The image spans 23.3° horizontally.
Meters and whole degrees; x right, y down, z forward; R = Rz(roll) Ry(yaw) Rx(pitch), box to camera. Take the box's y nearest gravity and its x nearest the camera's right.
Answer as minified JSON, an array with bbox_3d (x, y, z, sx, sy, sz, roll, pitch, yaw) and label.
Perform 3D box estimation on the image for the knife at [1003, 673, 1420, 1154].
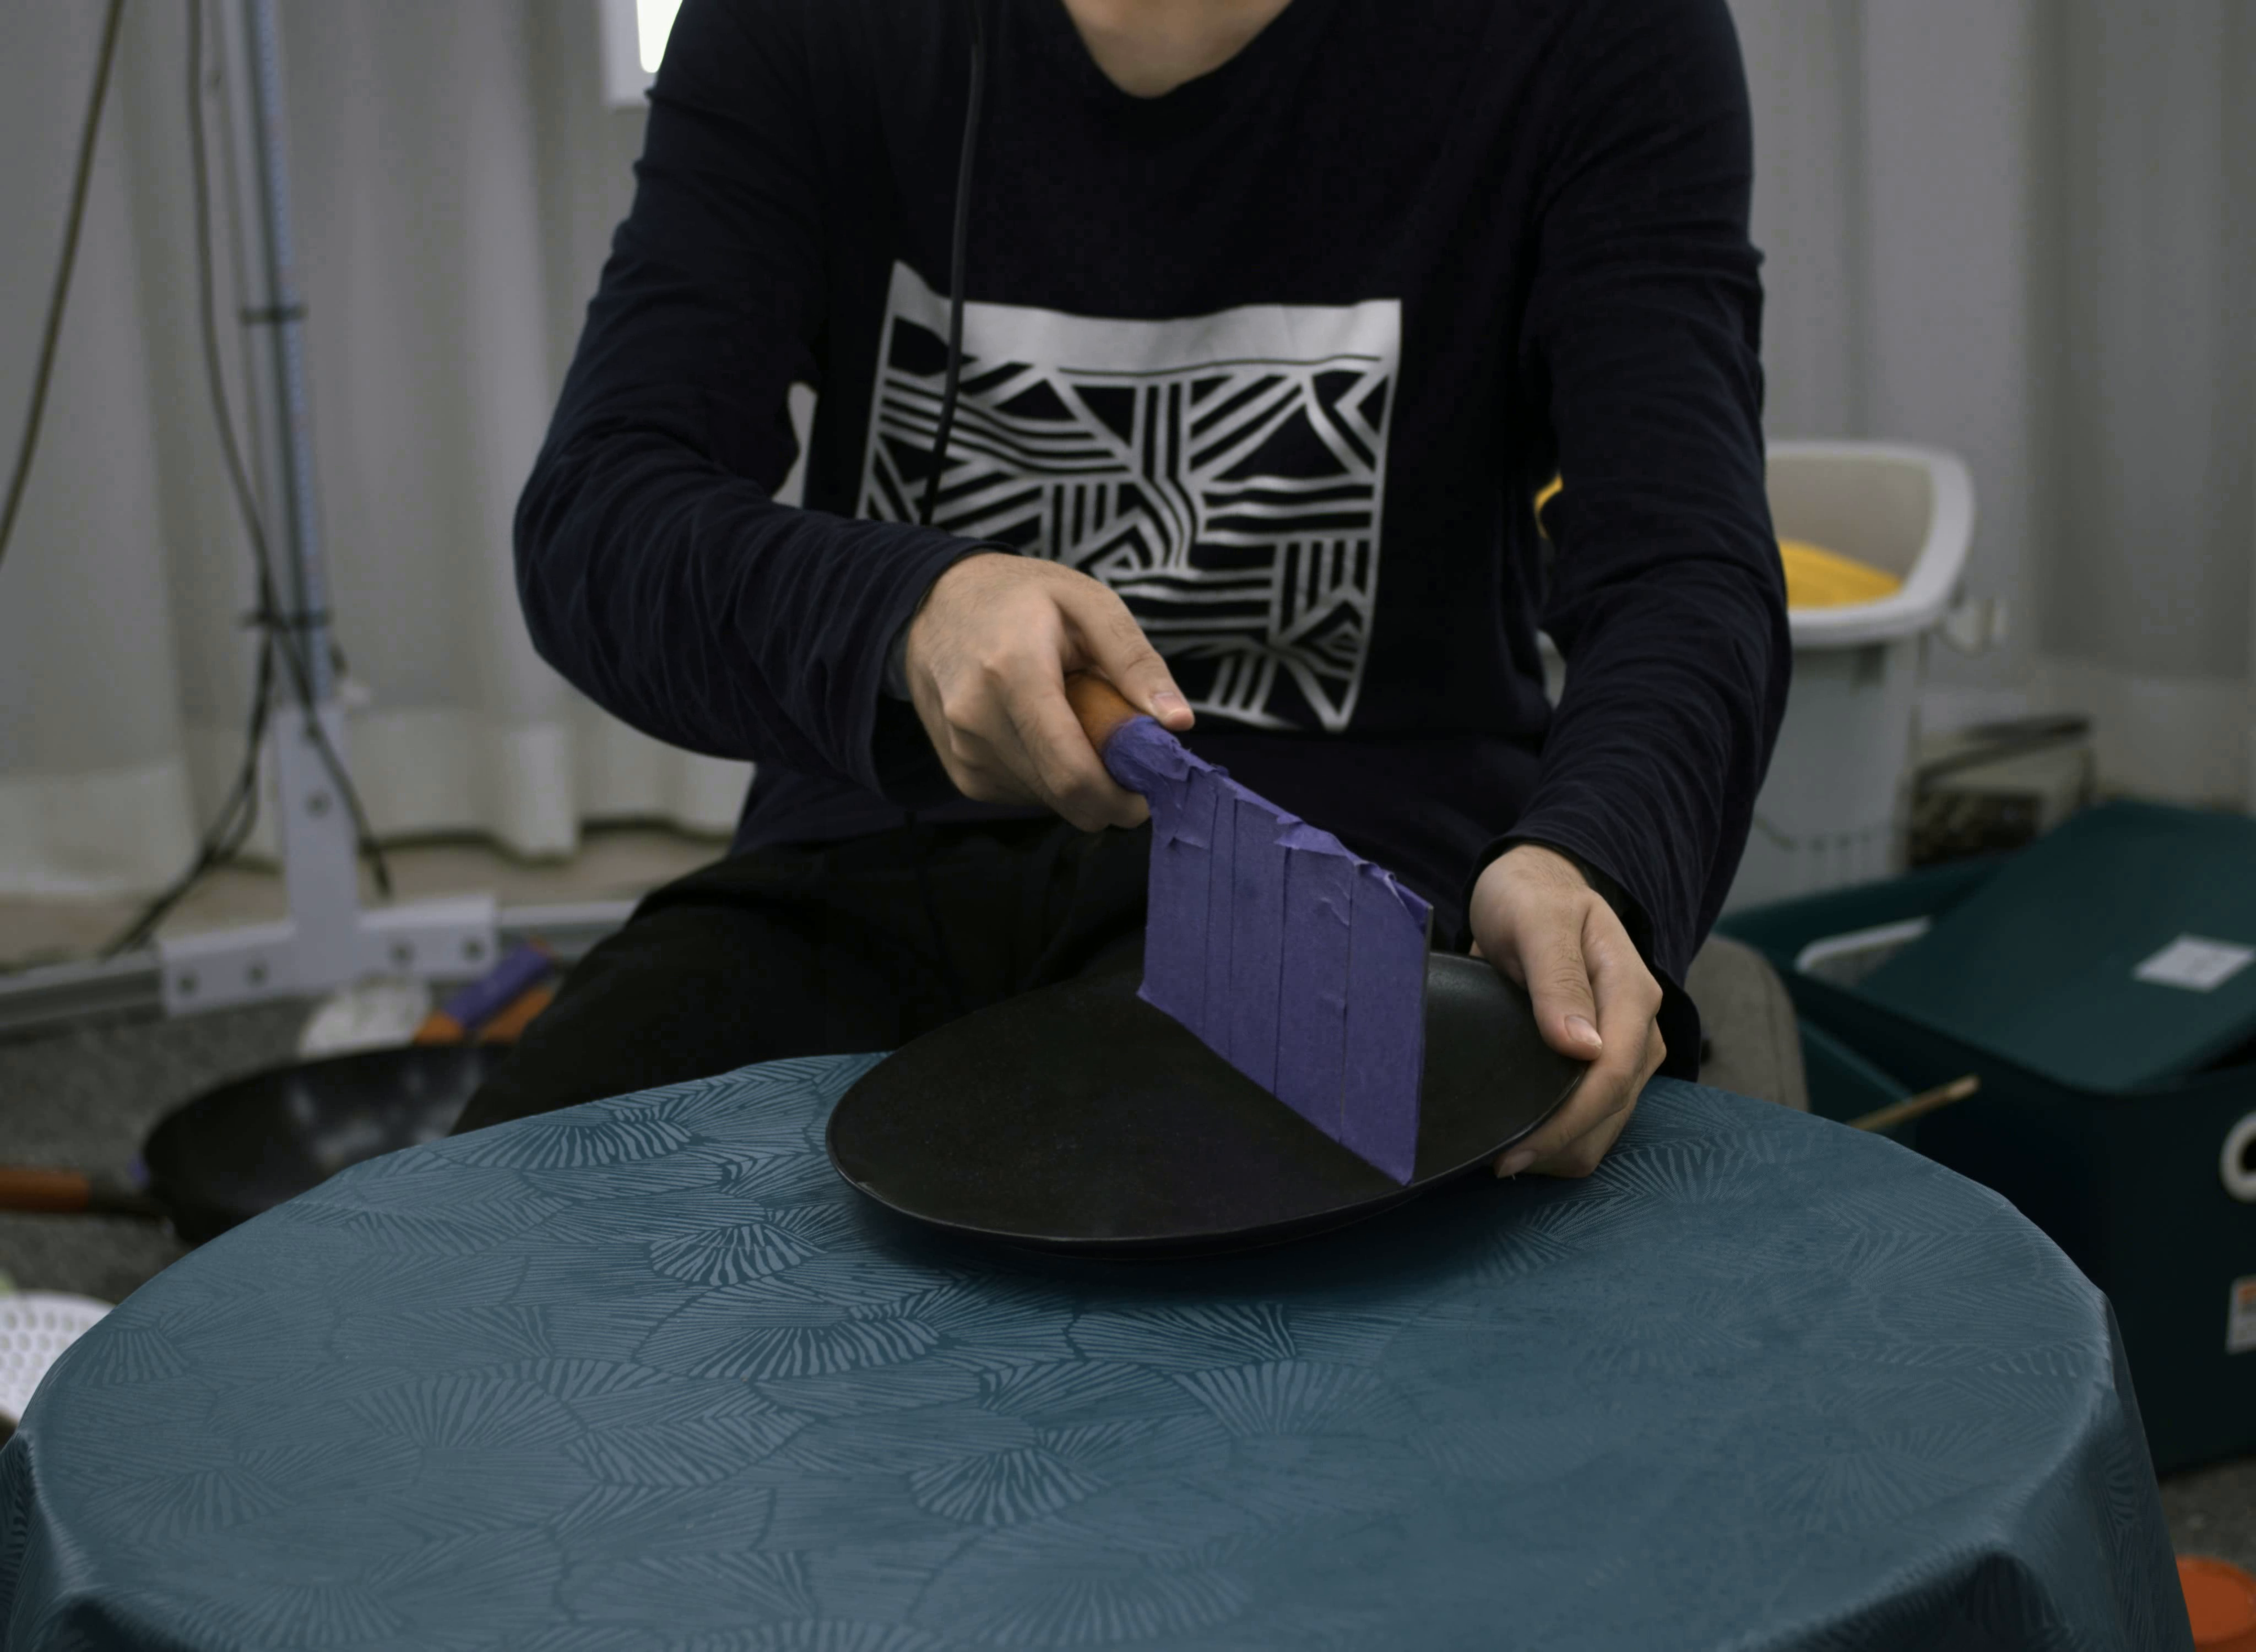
[{"bbox_3d":[0.022,0.026,1.740,0.032,0.103,0.318,0,13,-21],"label":"knife"}]

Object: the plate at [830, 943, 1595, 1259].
[{"bbox_3d":[0.027,0.090,1.724,0.243,0.023,0.246,-8,18,2],"label":"plate"}]
